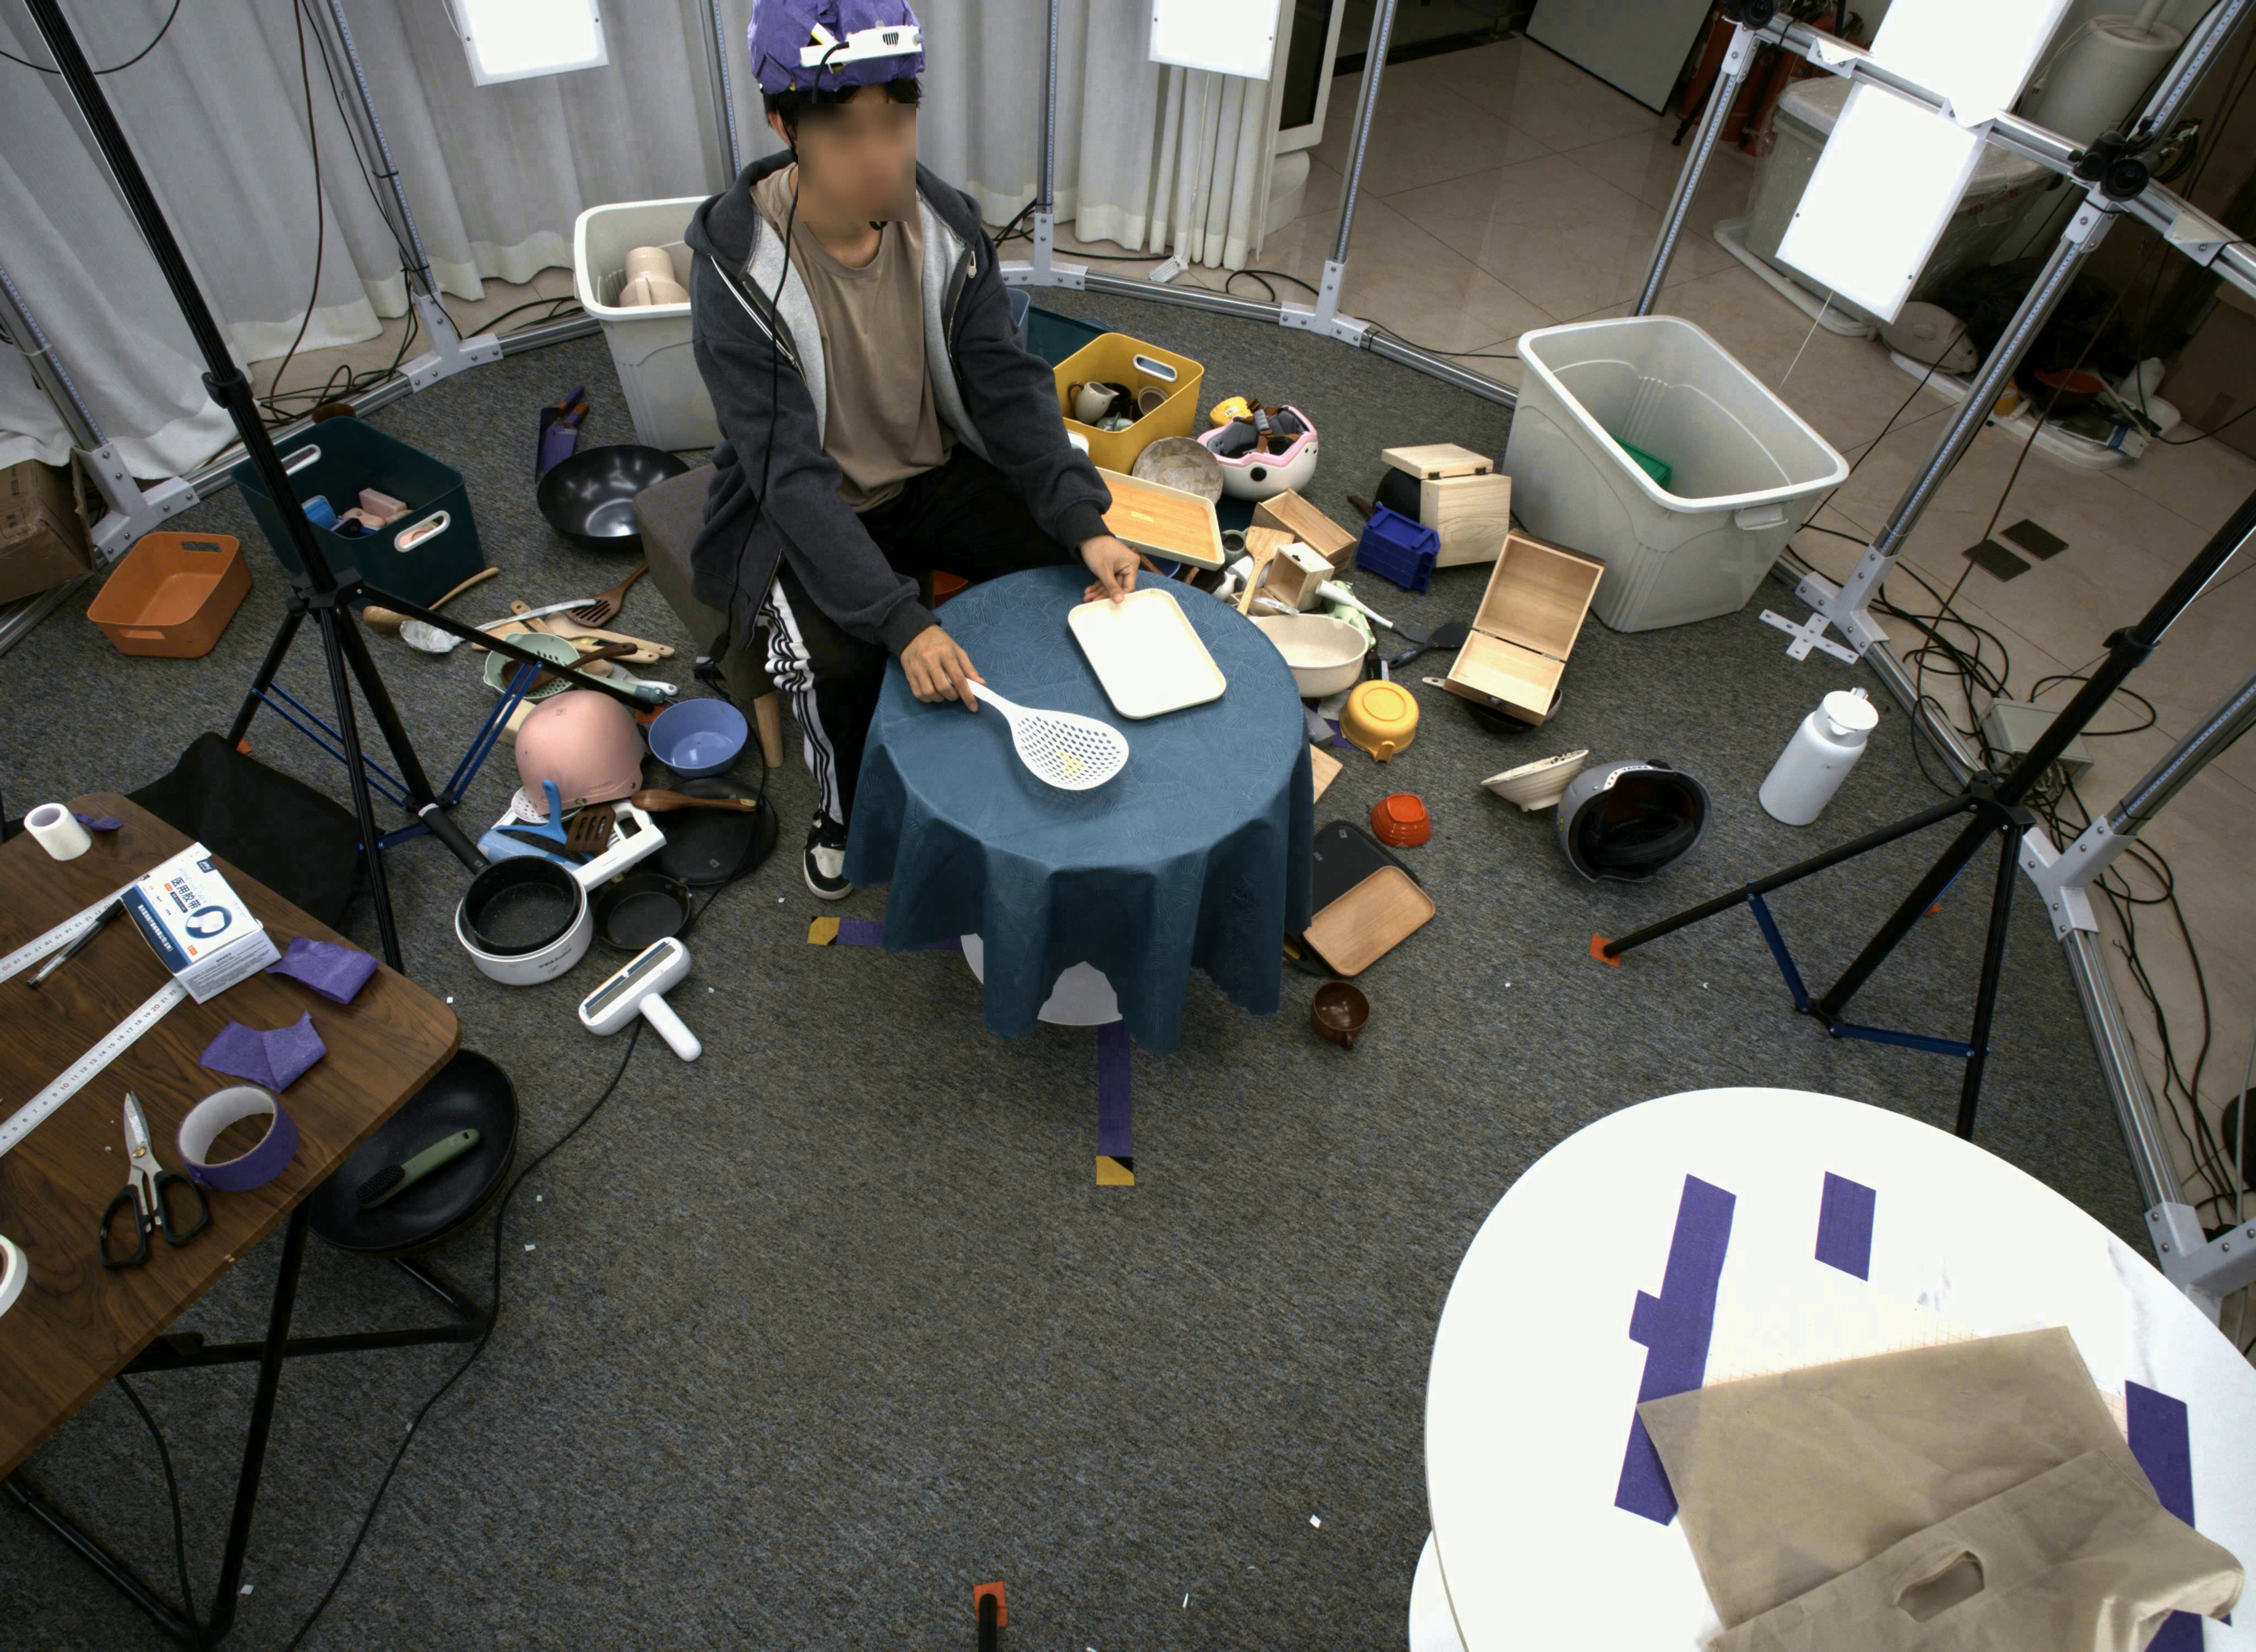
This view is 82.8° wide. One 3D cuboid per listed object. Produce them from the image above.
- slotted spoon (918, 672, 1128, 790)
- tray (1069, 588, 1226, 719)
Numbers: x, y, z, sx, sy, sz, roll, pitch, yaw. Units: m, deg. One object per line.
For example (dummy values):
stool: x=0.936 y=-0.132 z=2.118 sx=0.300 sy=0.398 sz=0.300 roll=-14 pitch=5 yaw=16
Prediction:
slotted spoon: x=-0.154 y=-0.145 z=1.754 sx=0.352 sy=0.049 sz=0.138 roll=34 pitch=57 yaw=23
tray: x=0.026 y=-0.254 z=1.874 sx=0.171 sy=0.017 sz=0.245 roll=-16 pitch=53 yaw=-16
